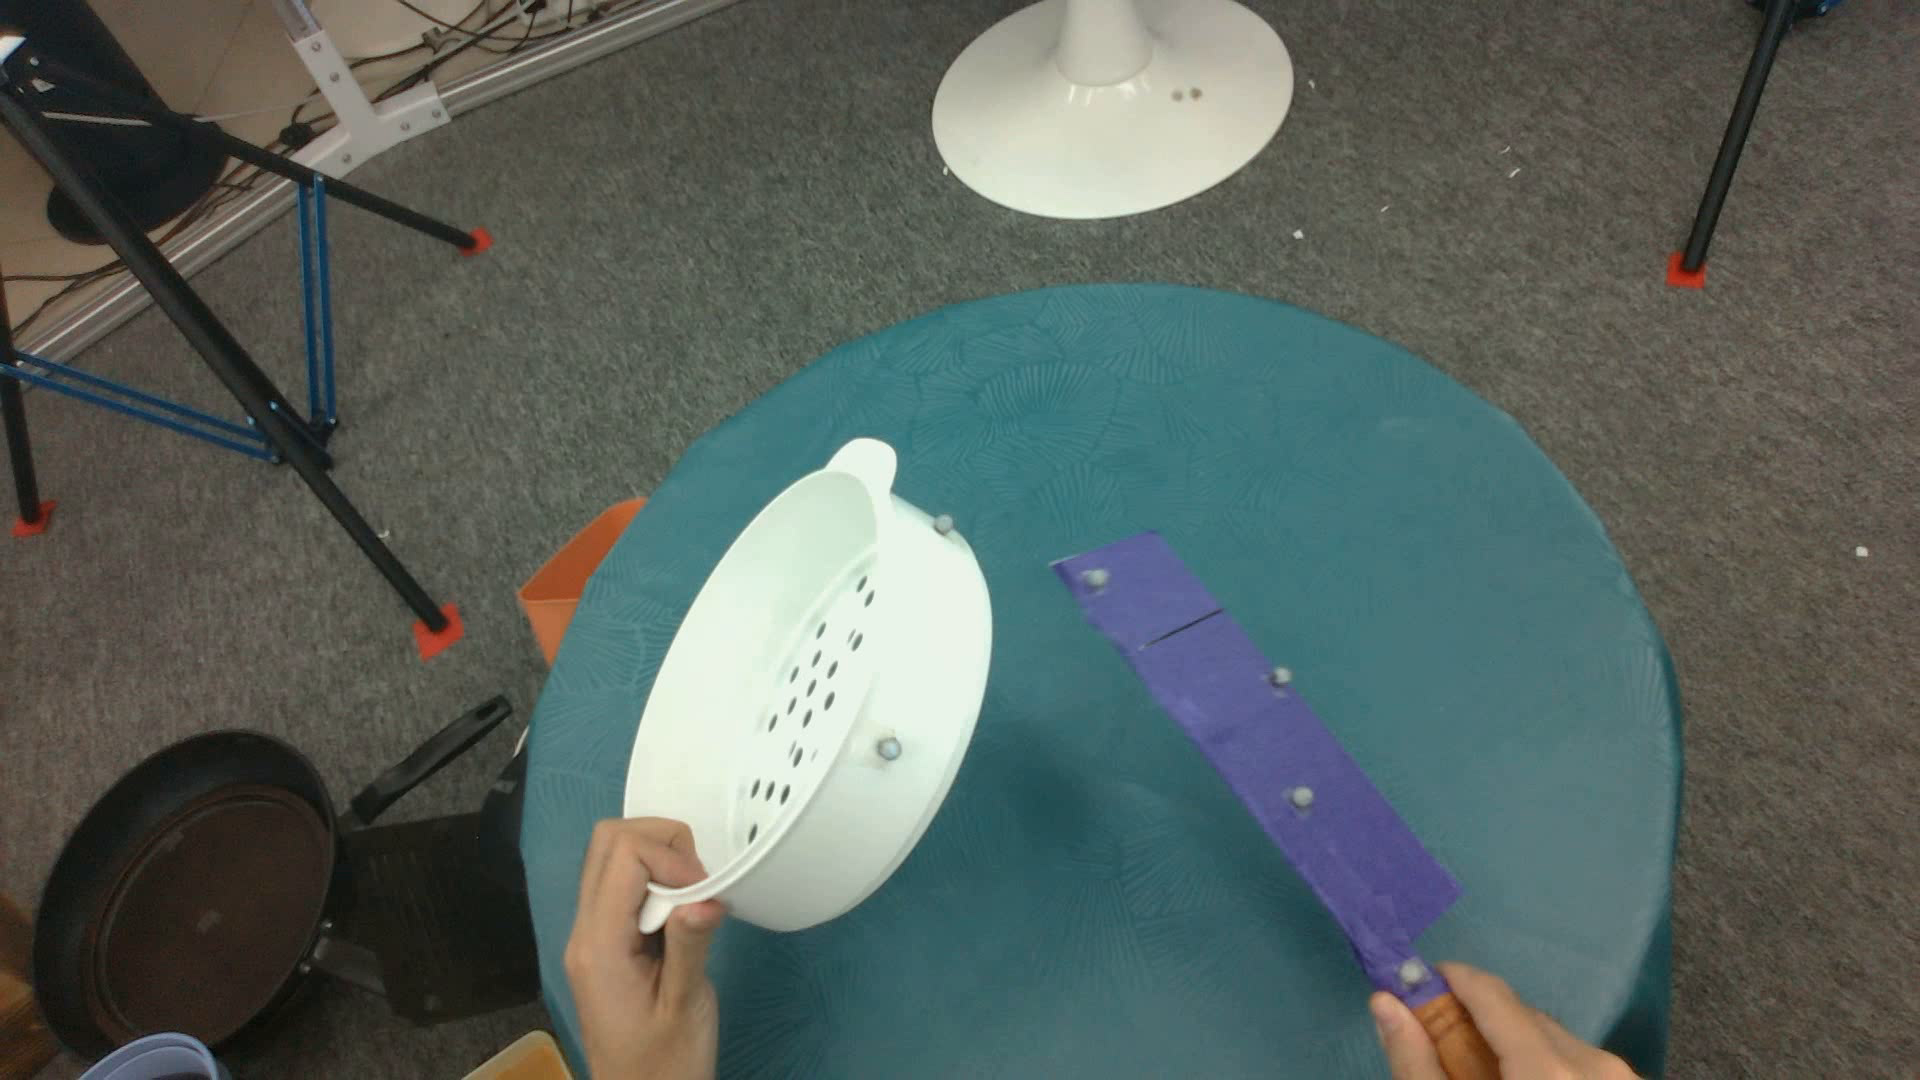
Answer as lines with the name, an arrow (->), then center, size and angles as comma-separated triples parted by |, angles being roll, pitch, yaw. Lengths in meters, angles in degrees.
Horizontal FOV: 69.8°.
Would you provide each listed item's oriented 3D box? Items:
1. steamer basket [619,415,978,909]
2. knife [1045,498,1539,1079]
steamer basket -> -0.073, 0.060, 0.616 | 0.201, 0.069, 0.231 | 18, 82, 59
knife -> 0.153, 0.105, 0.577 | 0.104, 0.032, 0.315 | -13, 63, -50
